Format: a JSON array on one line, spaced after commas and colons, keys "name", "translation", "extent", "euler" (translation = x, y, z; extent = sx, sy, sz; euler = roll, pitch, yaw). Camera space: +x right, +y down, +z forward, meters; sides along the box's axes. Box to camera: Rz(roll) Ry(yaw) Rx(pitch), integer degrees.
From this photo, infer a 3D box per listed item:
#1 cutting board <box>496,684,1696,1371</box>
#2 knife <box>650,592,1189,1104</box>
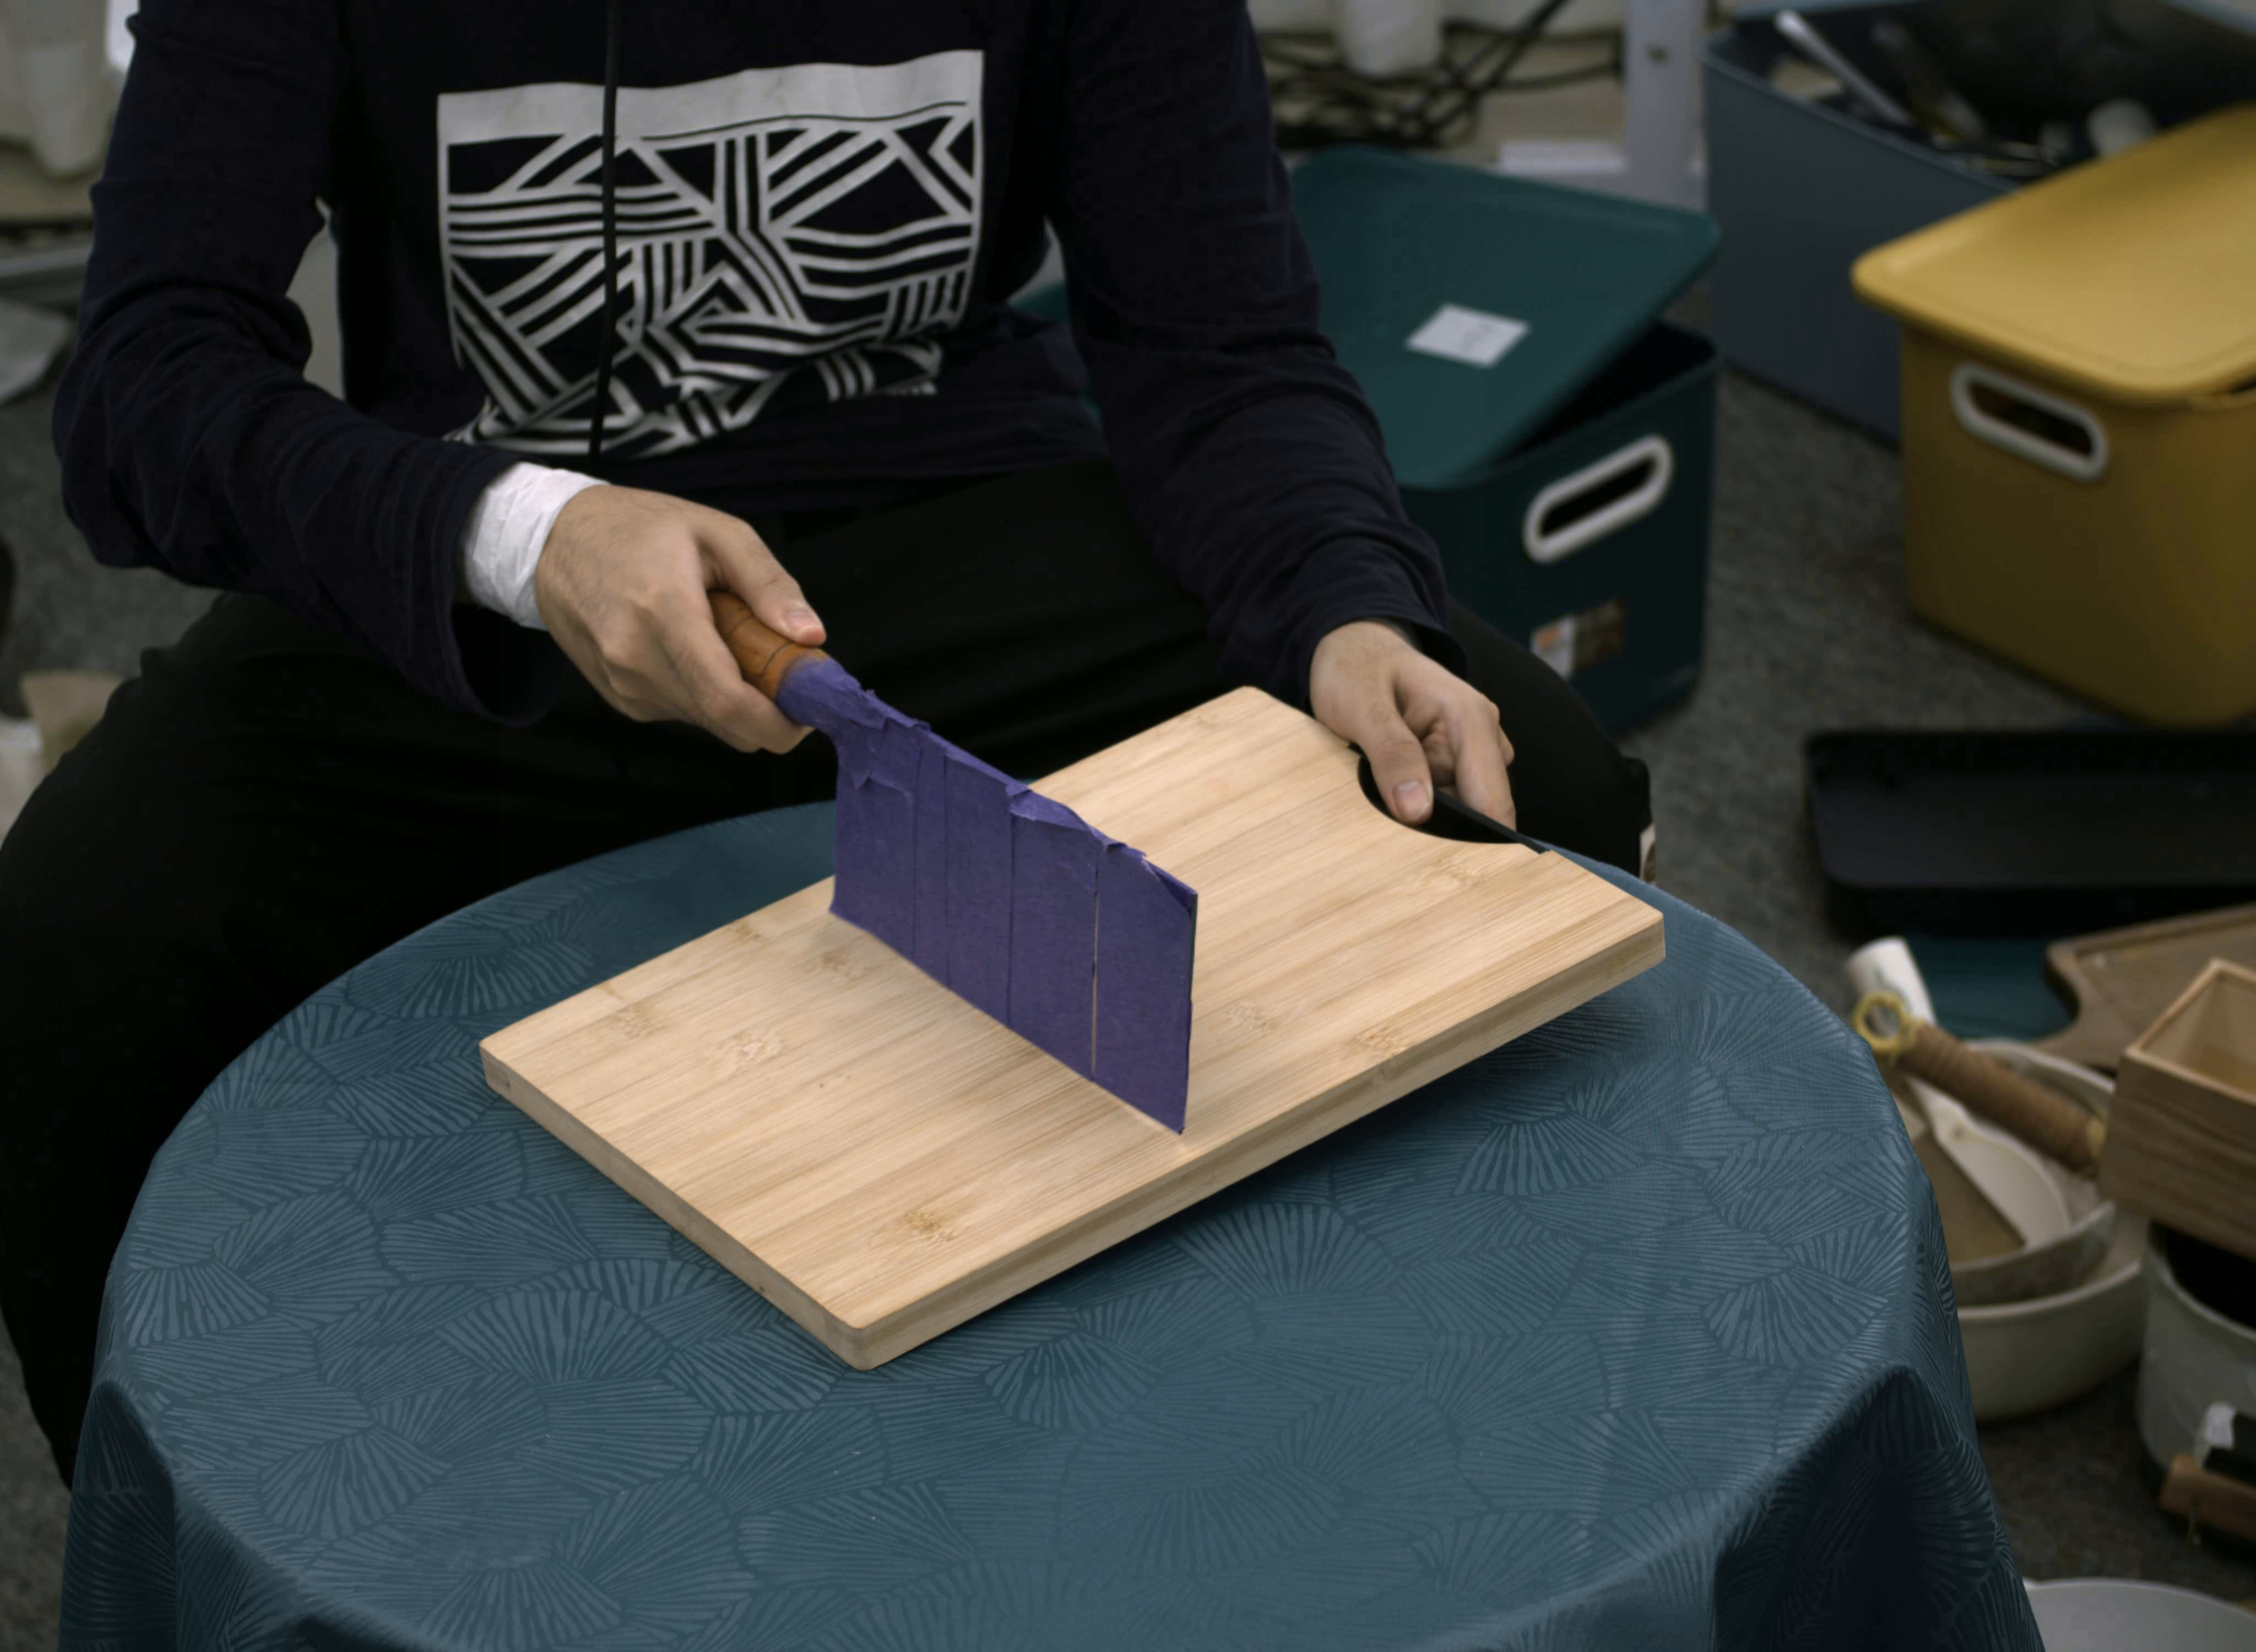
[{"name": "cutting board", "translation": [-0.015, 0.059, 1.938], "extent": [0.352, 0.023, 0.251], "euler": [-25, 35, -29]}, {"name": "knife", "translation": [-0.075, 0.007, 1.925], "extent": [0.032, 0.103, 0.316], "euler": [-9, 24, -33]}]
